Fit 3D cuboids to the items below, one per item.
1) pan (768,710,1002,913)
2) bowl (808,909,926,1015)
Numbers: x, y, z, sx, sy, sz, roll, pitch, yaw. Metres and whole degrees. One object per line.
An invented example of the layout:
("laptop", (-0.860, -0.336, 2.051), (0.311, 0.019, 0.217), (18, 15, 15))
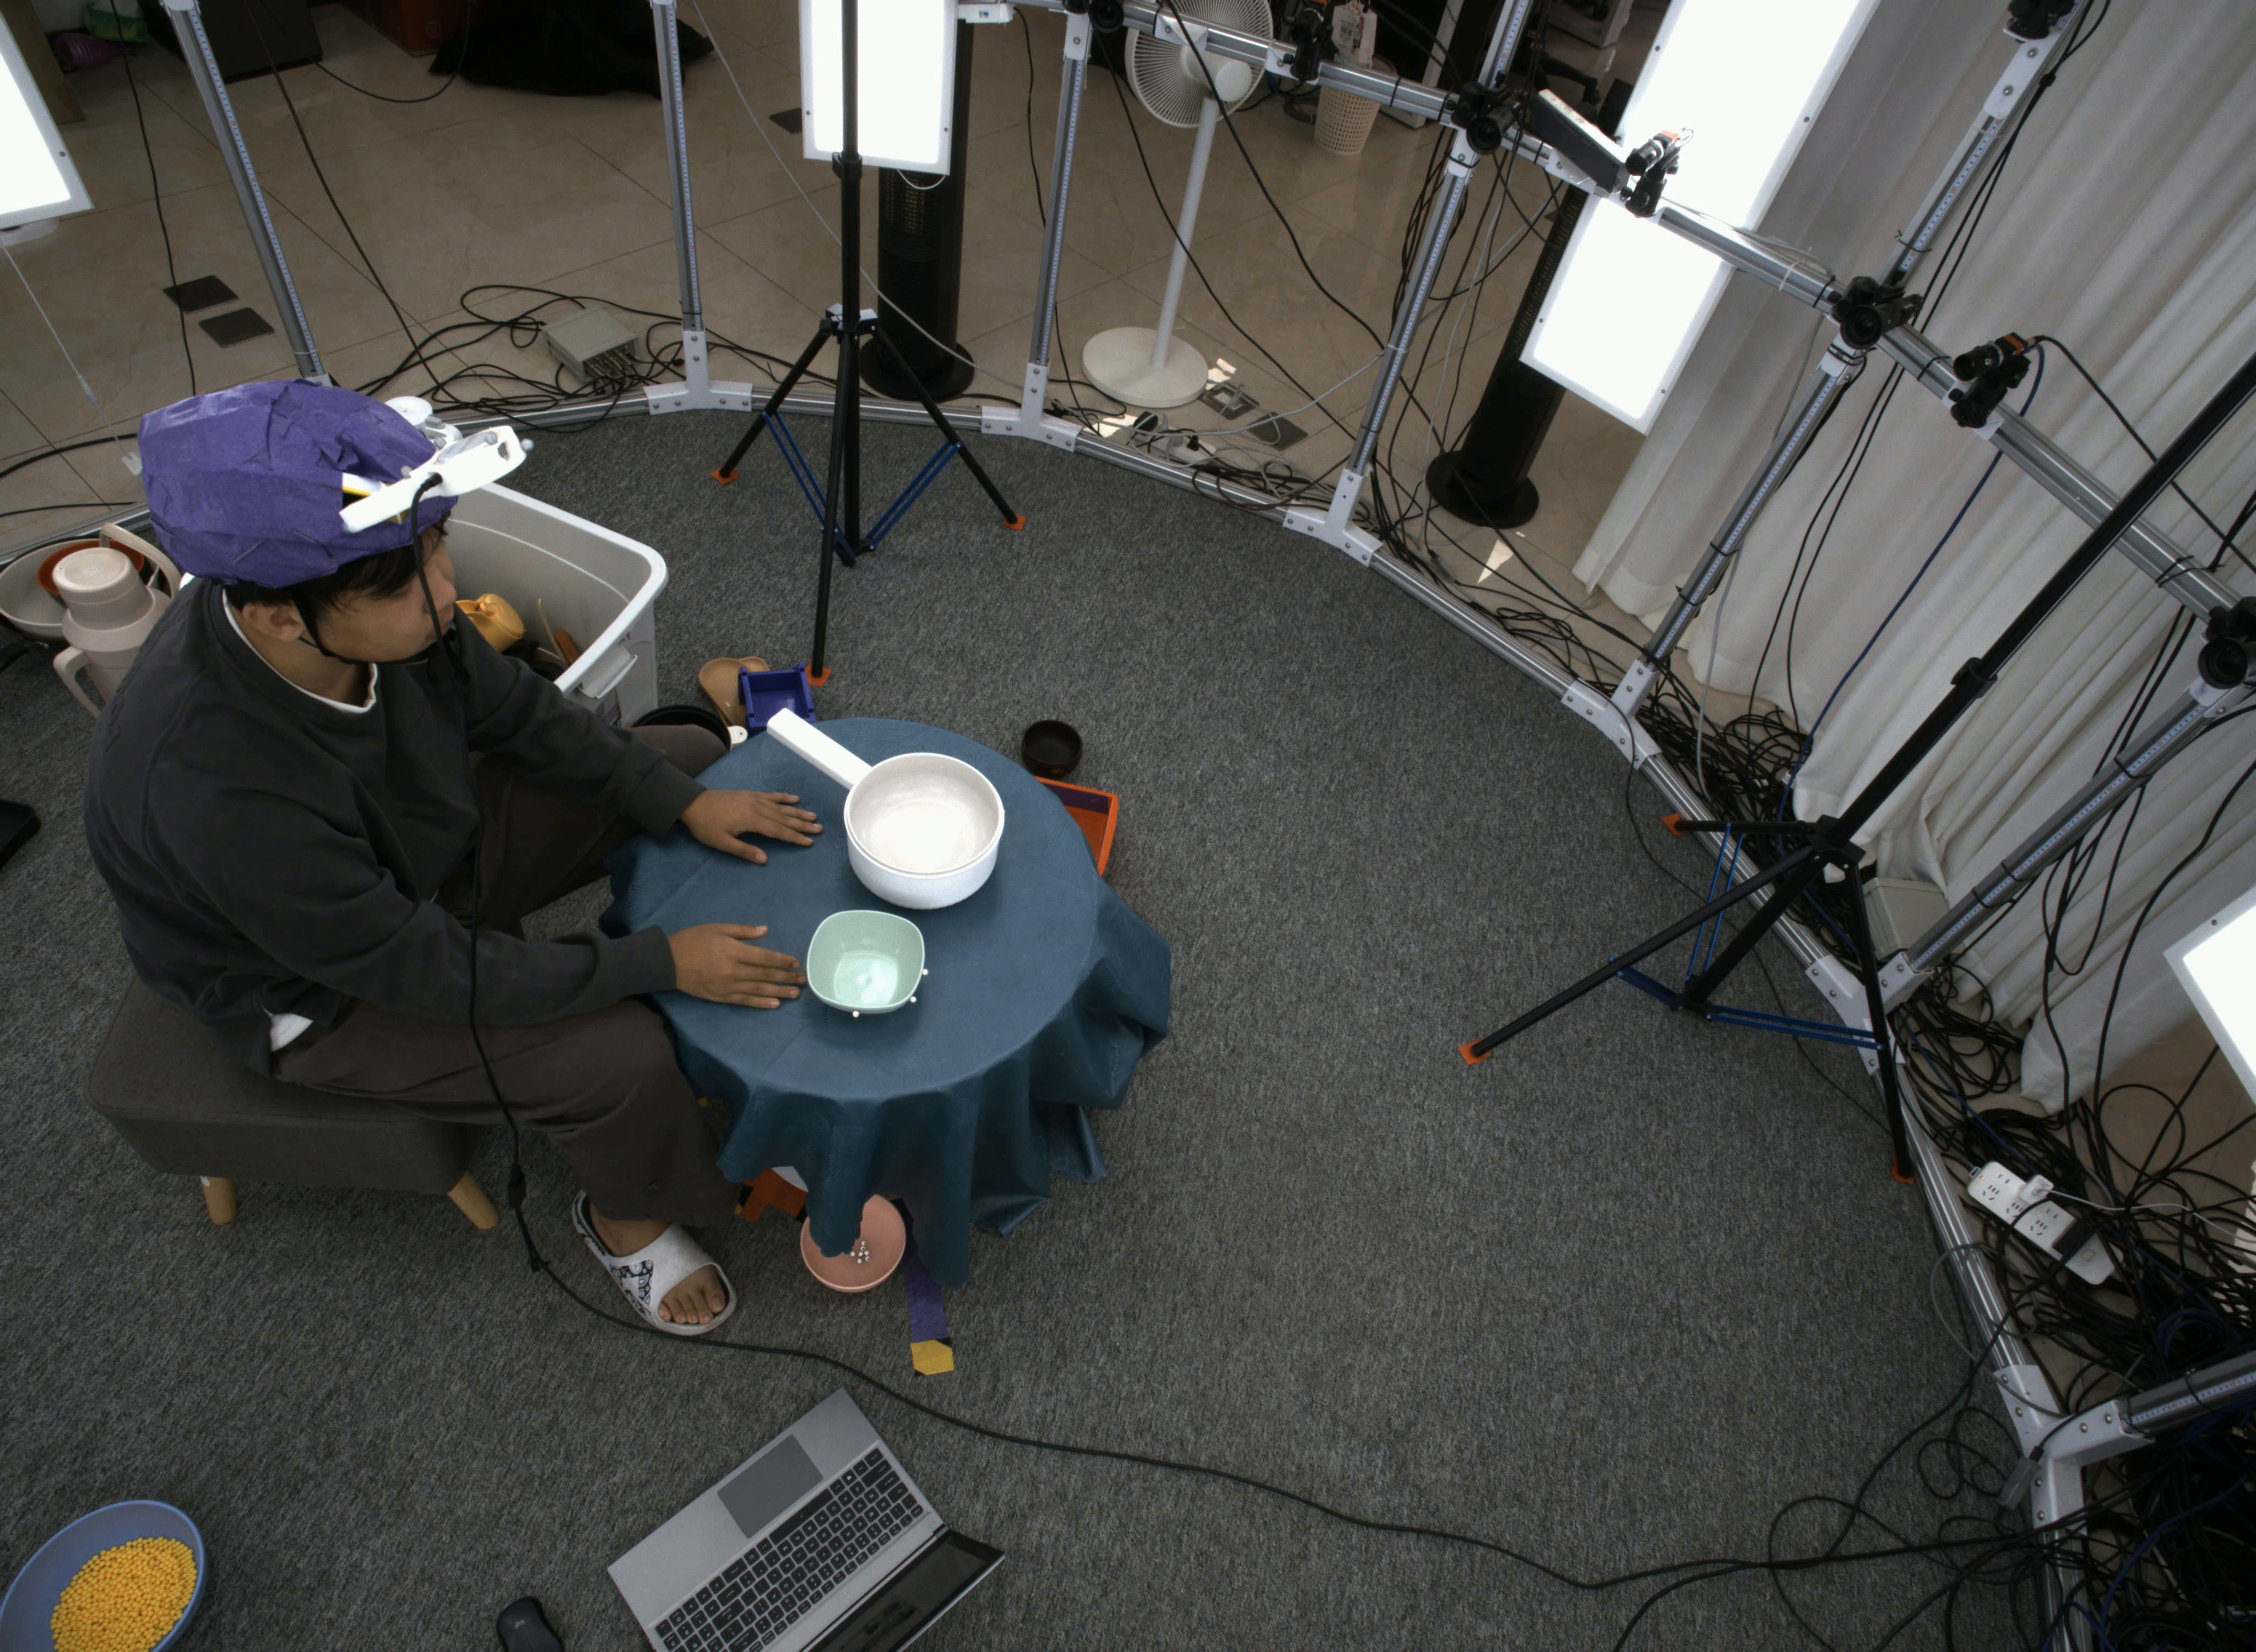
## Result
("pan", (-0.328, -0.026, 1.707), (0.348, 0.104, 0.201), (32, 56, 12))
("bowl", (-0.318, 0.173, 1.580), (0.151, 0.060, 0.149), (8, 53, -10))
